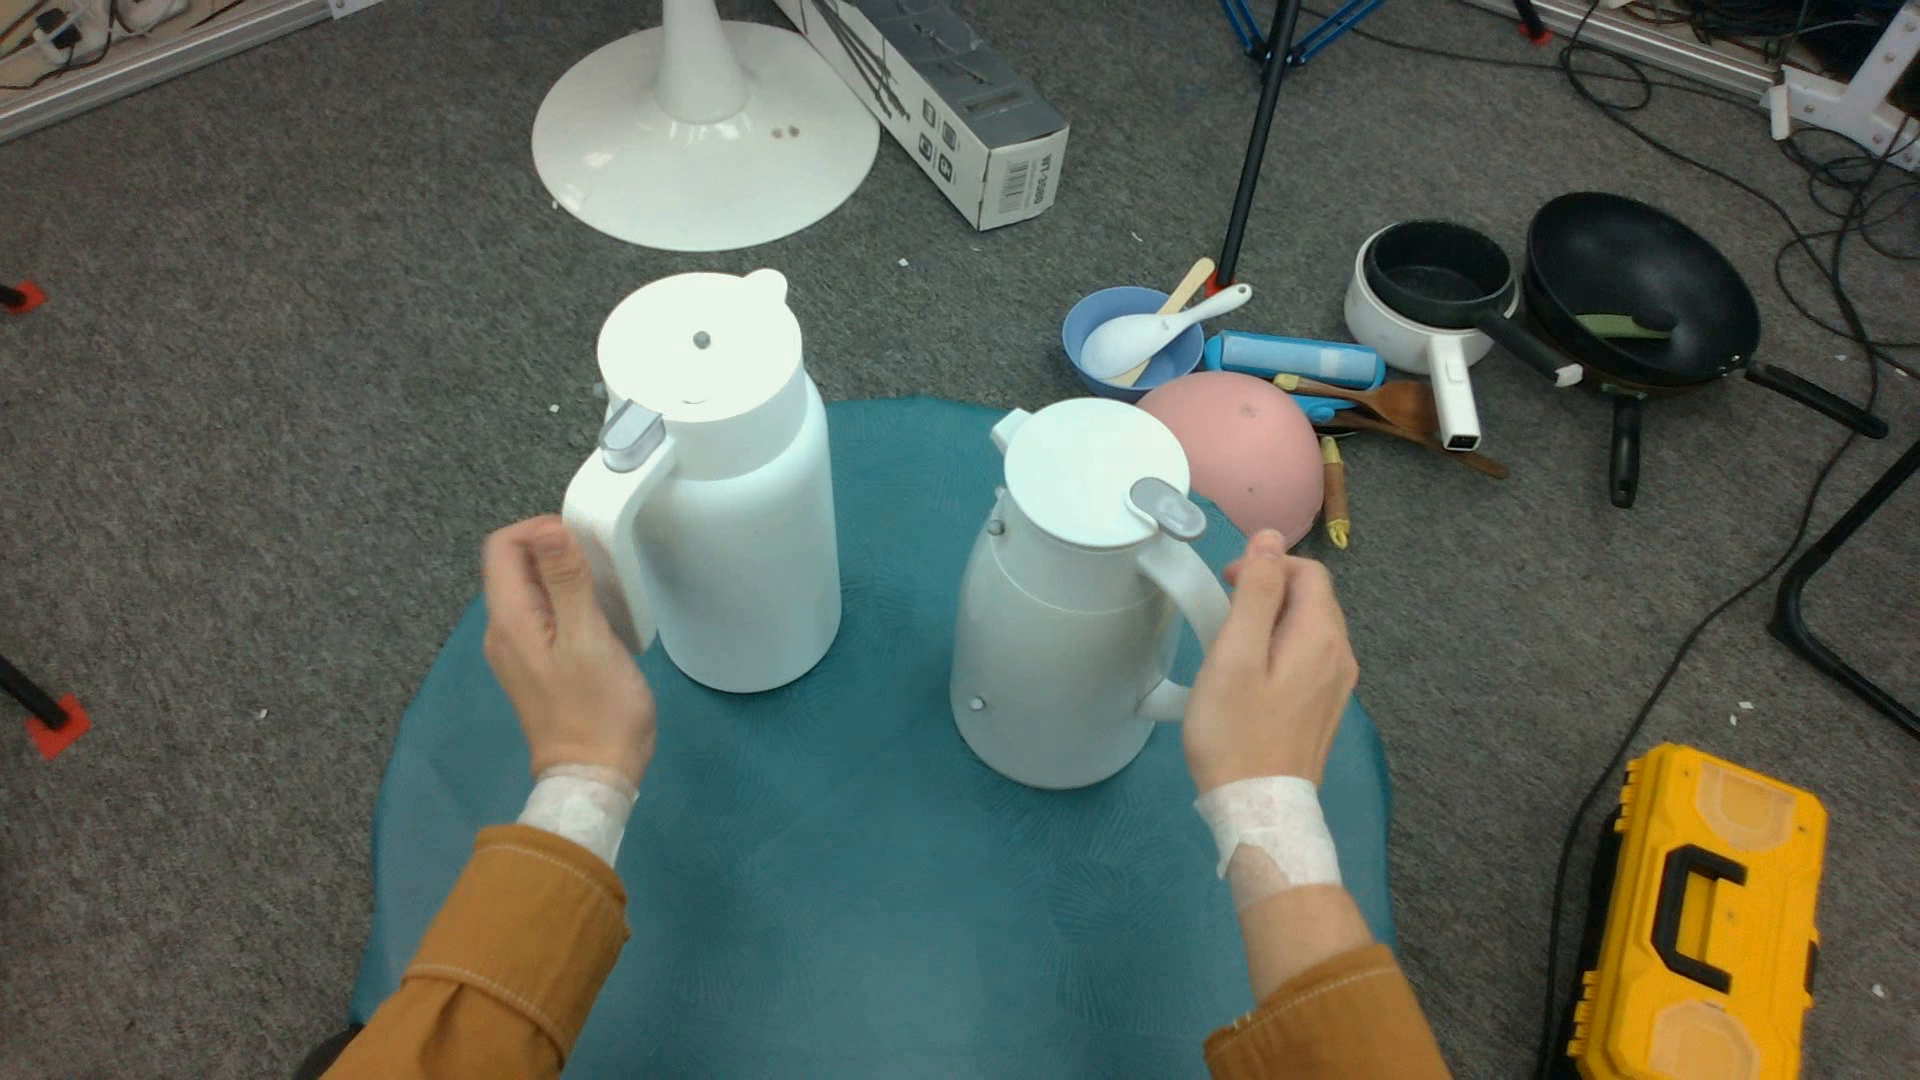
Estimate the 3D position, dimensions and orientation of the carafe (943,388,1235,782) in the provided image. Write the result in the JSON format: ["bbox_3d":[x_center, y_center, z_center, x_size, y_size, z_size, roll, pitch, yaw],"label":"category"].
[{"bbox_3d":[0.074,0.035,0.762,0.168,0.247,0.133,39,63,20],"label":"carafe"}]

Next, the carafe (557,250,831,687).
[{"bbox_3d":[-0.143,-0.014,0.772,0.124,0.267,0.173,24,58,11],"label":"carafe"}]
